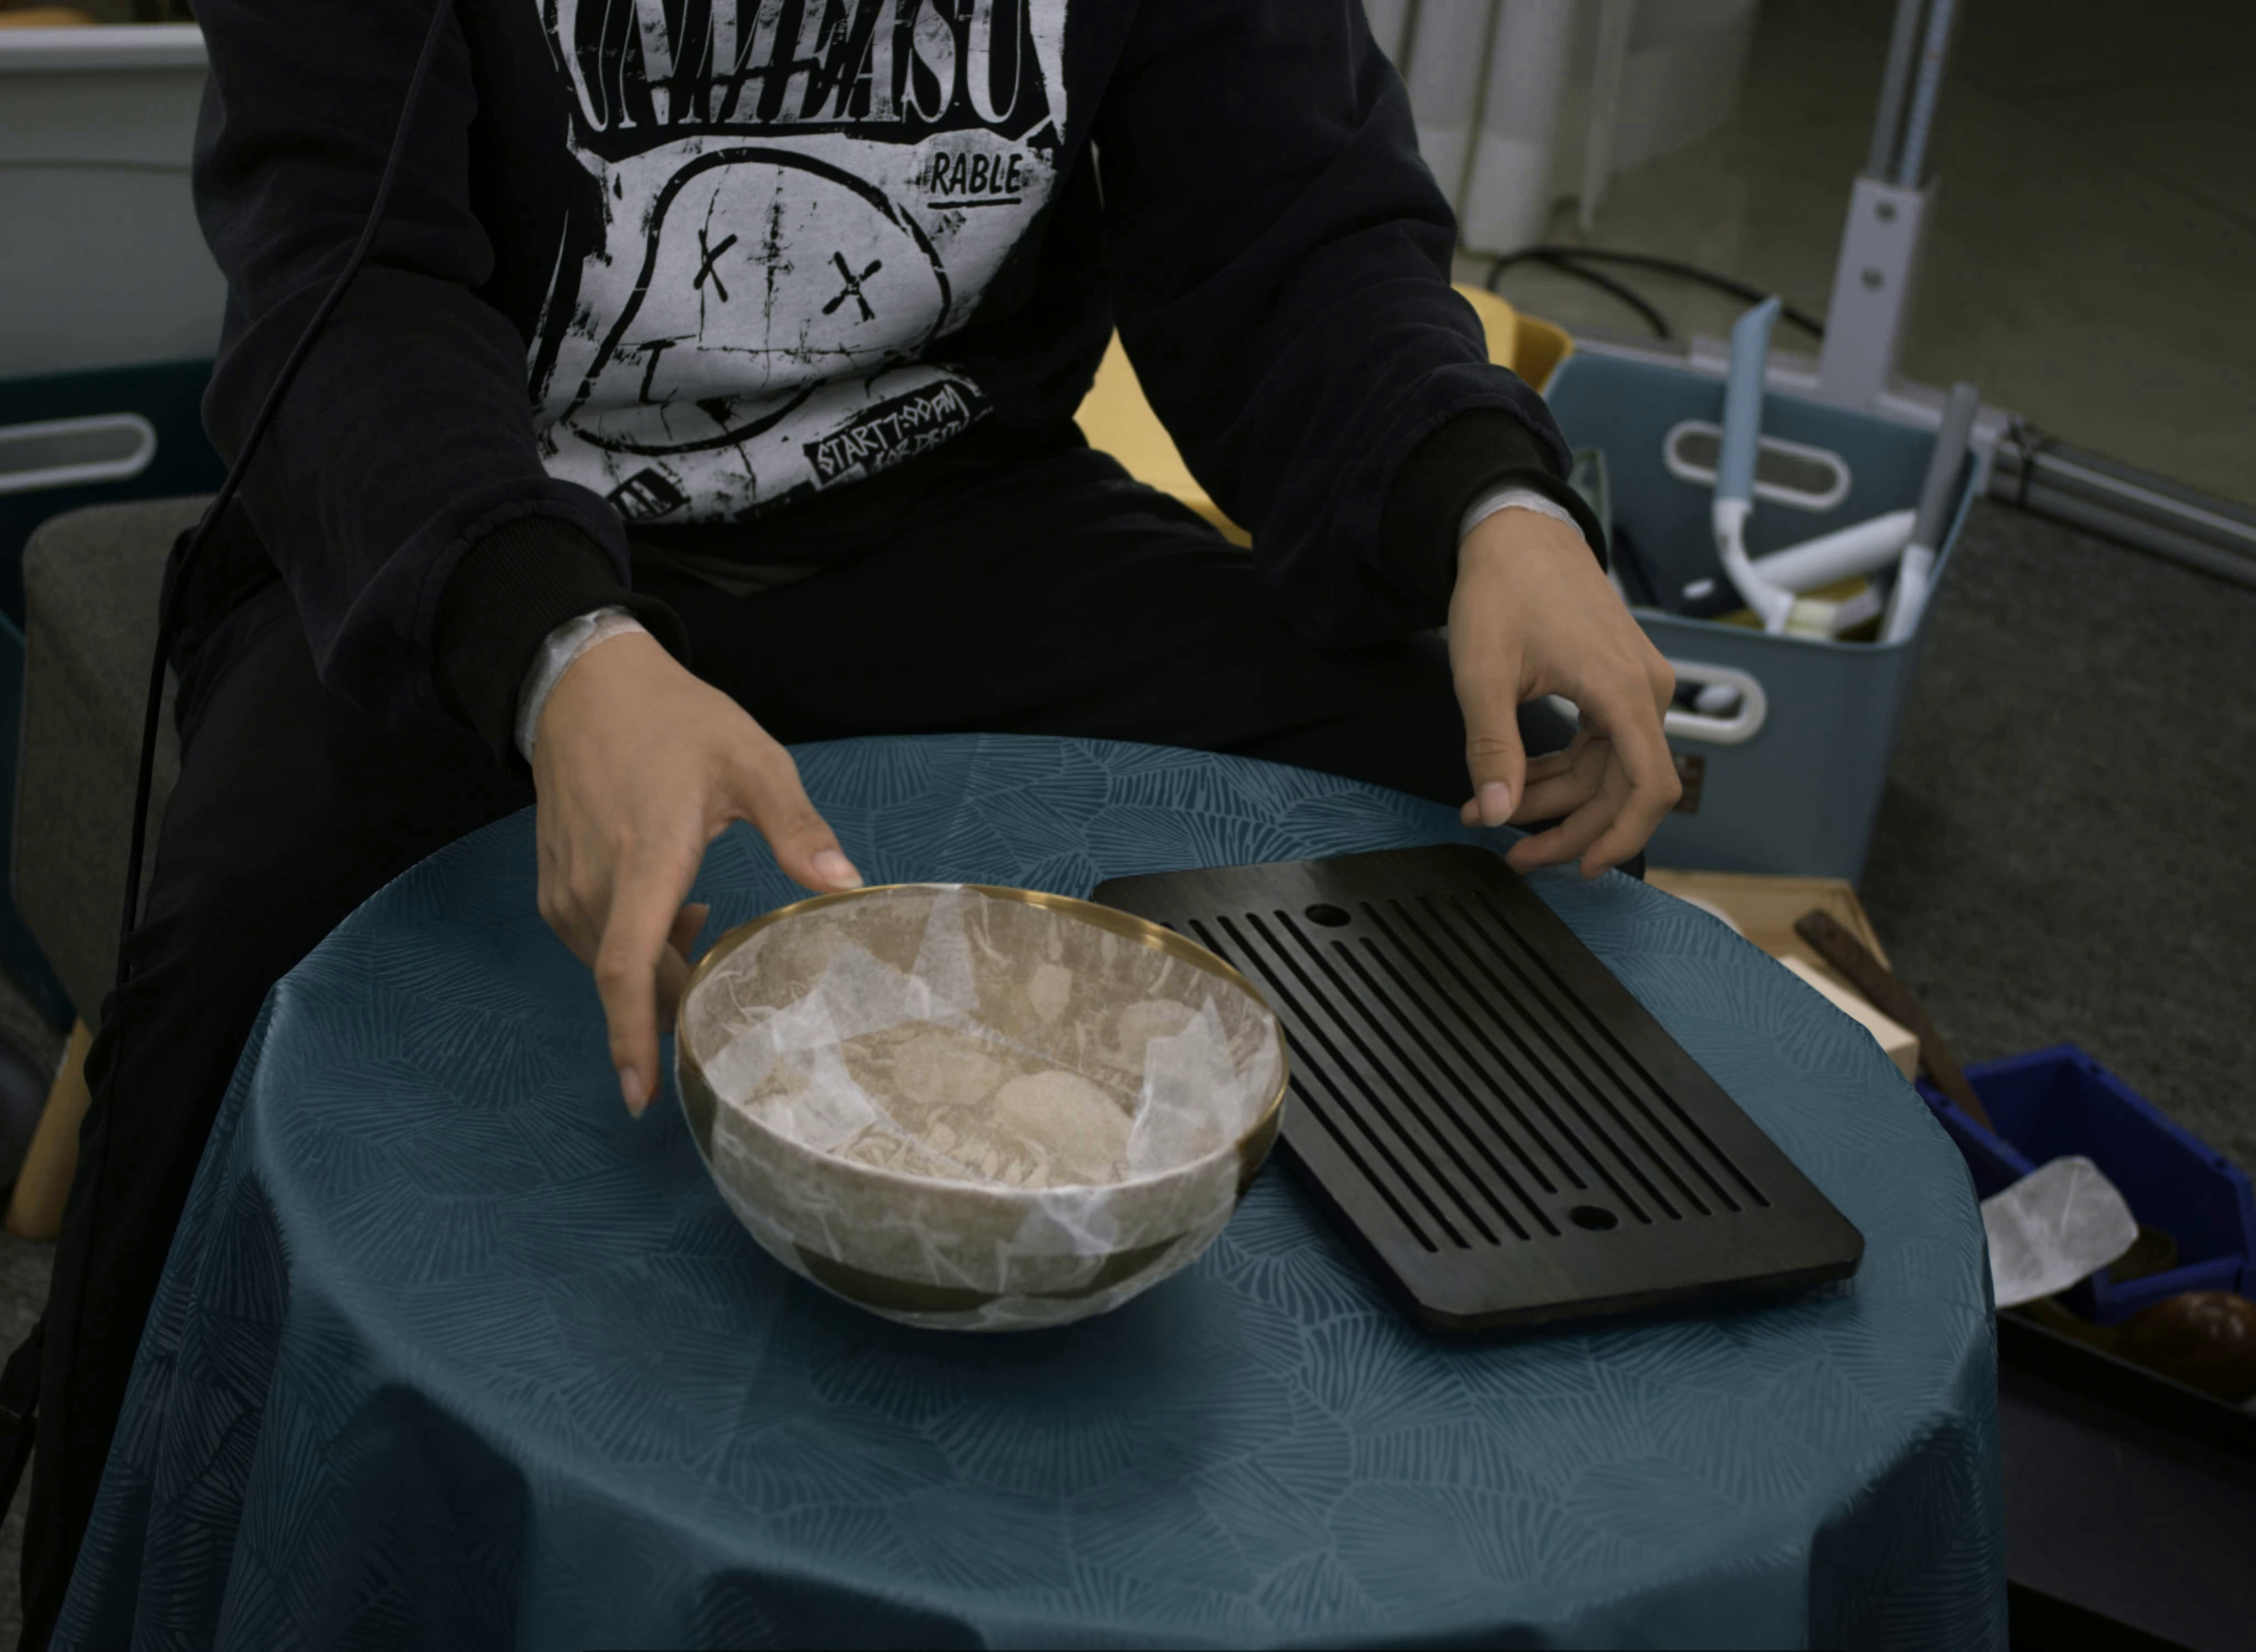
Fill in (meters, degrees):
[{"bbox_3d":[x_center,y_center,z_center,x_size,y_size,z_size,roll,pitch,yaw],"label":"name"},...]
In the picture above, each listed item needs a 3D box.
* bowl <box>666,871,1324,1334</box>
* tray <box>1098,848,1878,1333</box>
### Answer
[{"bbox_3d":[-0.048,0.102,1.730,0.214,0.094,0.216,4,27,-2],"label":"bowl"},{"bbox_3d":[0.120,0.090,1.875,0.169,0.018,0.309,-5,29,-23],"label":"tray"}]
